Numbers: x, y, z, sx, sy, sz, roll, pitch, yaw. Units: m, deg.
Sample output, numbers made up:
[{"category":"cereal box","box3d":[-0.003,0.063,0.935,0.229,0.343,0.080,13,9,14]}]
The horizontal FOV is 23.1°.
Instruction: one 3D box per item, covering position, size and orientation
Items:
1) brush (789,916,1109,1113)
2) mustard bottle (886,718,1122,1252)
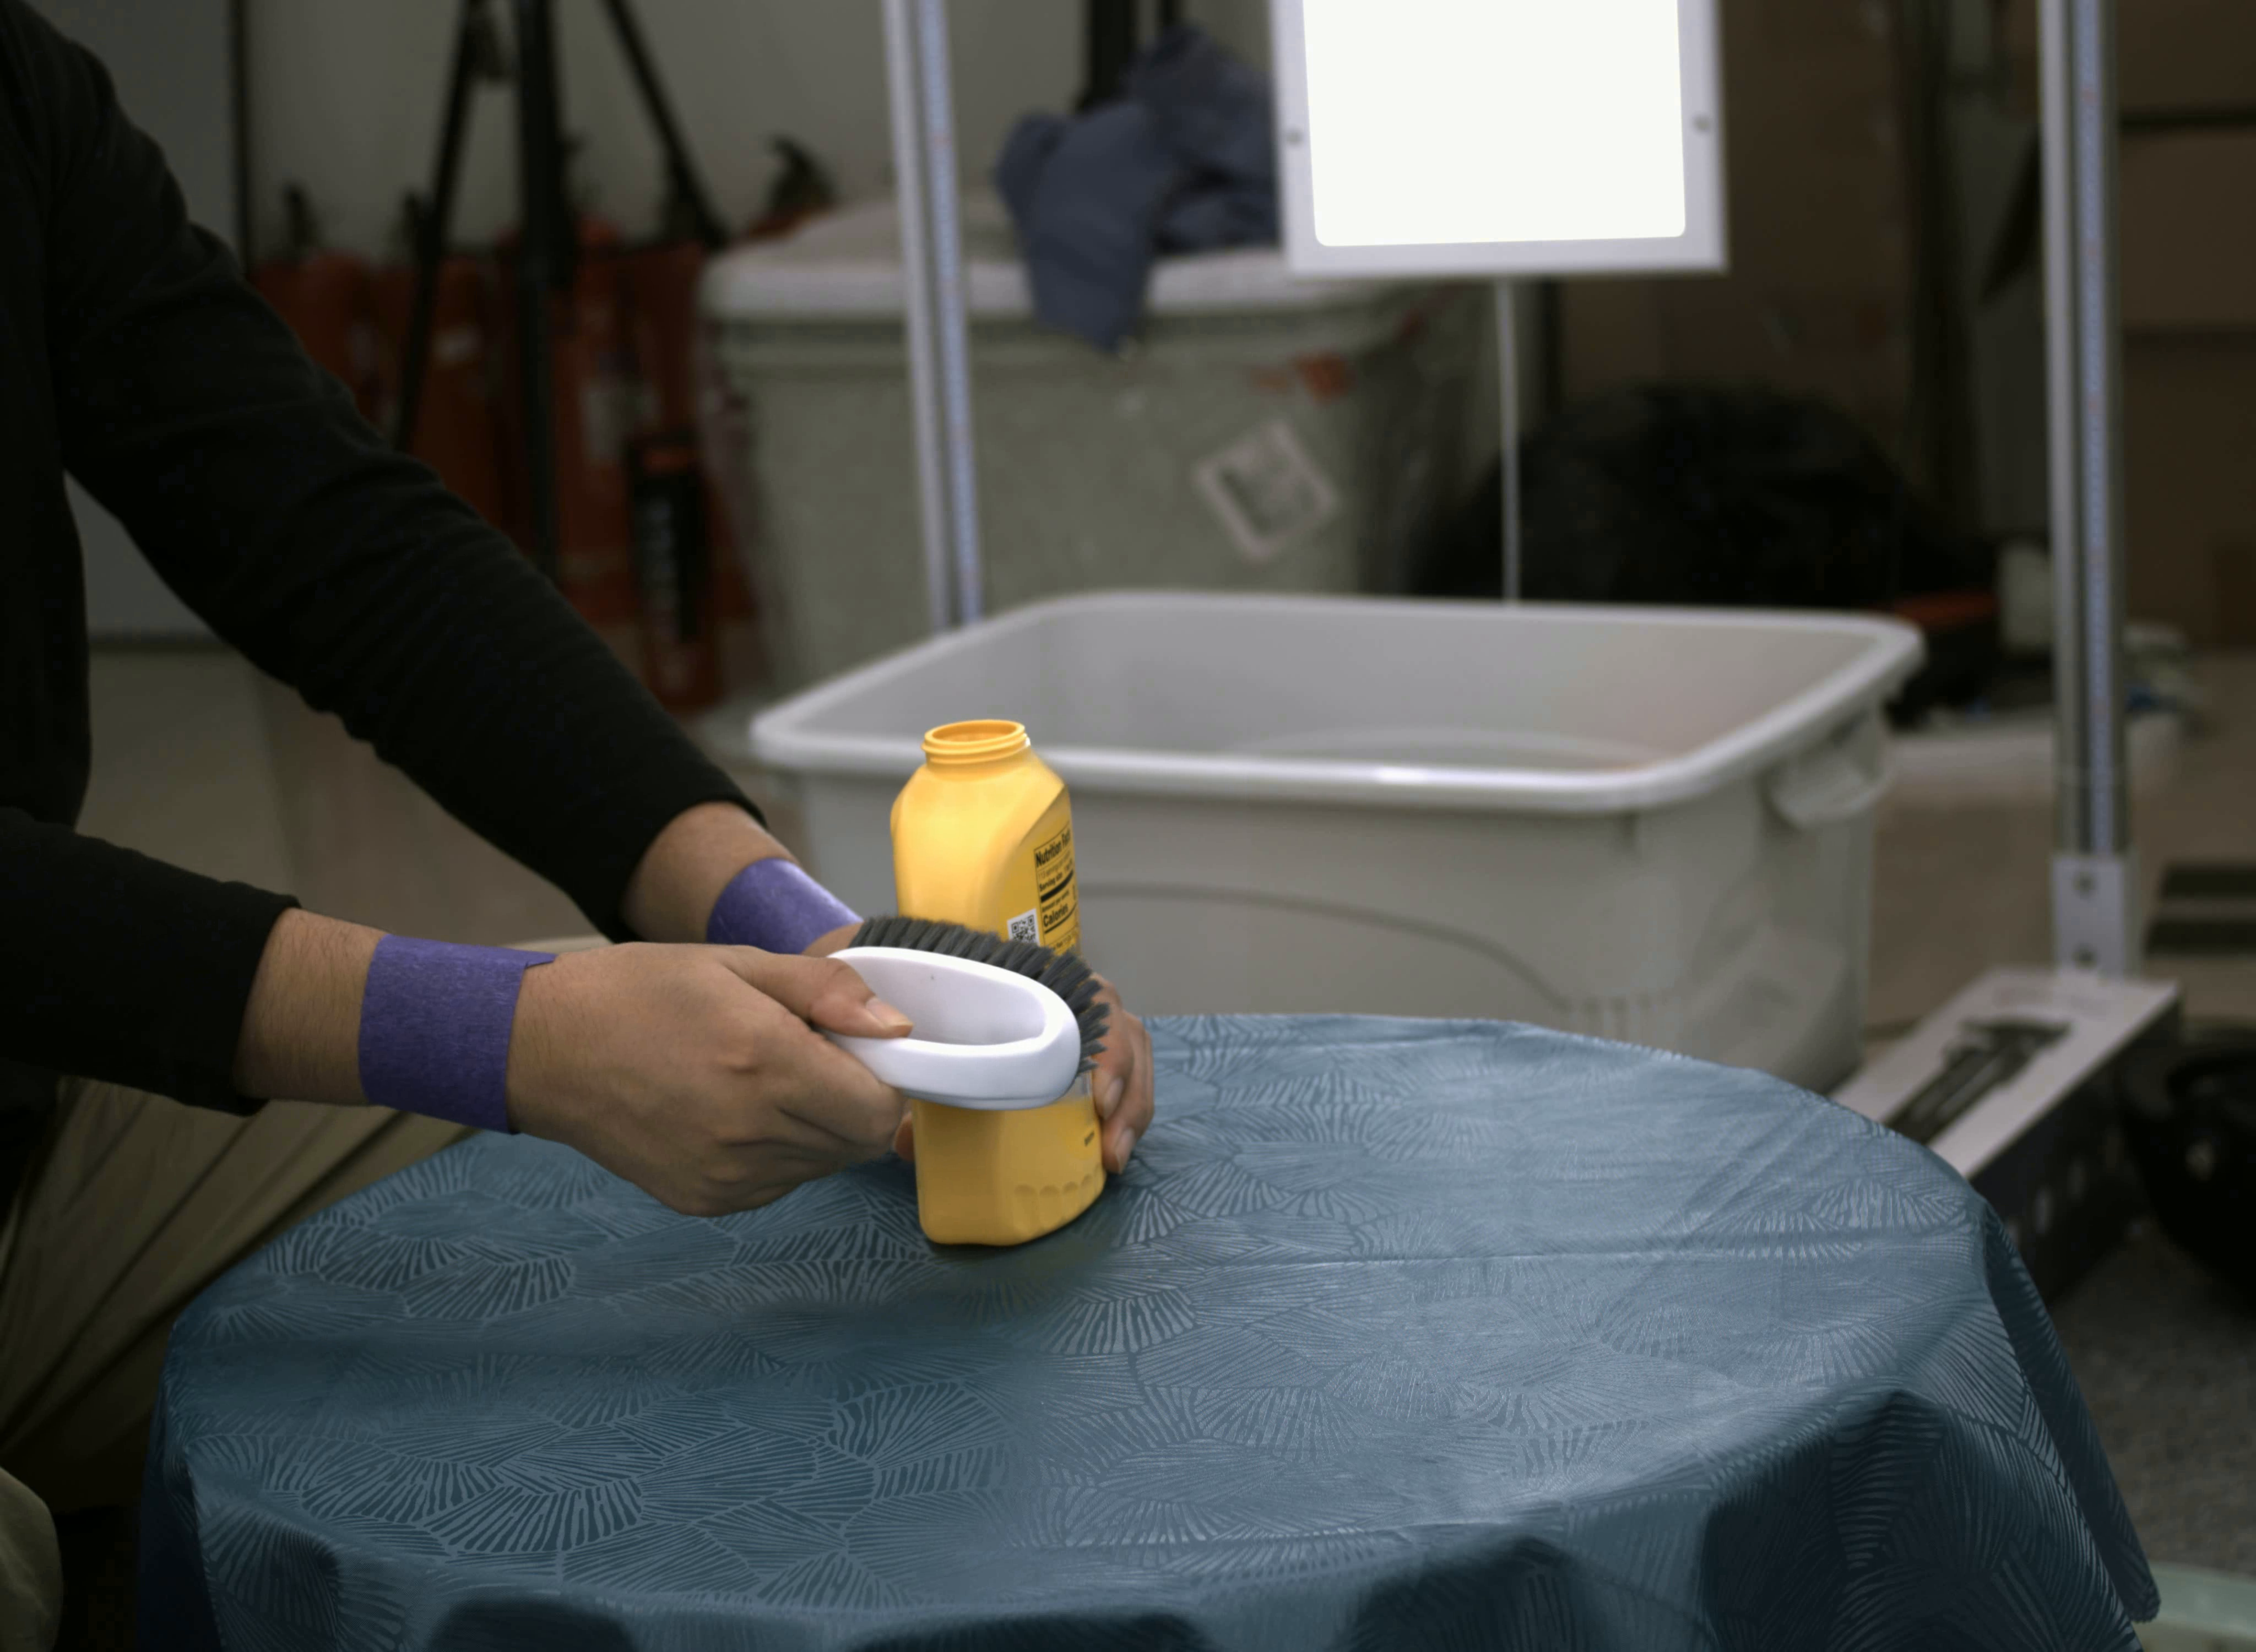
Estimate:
[{"category":"brush","box3d":[-0.064,0.067,1.789,0.100,0.050,0.071,13,21,19]},{"category":"mustard bottle","box3d":[-0.044,0.052,1.865,0.060,0.172,0.097,-4,14,17]}]
